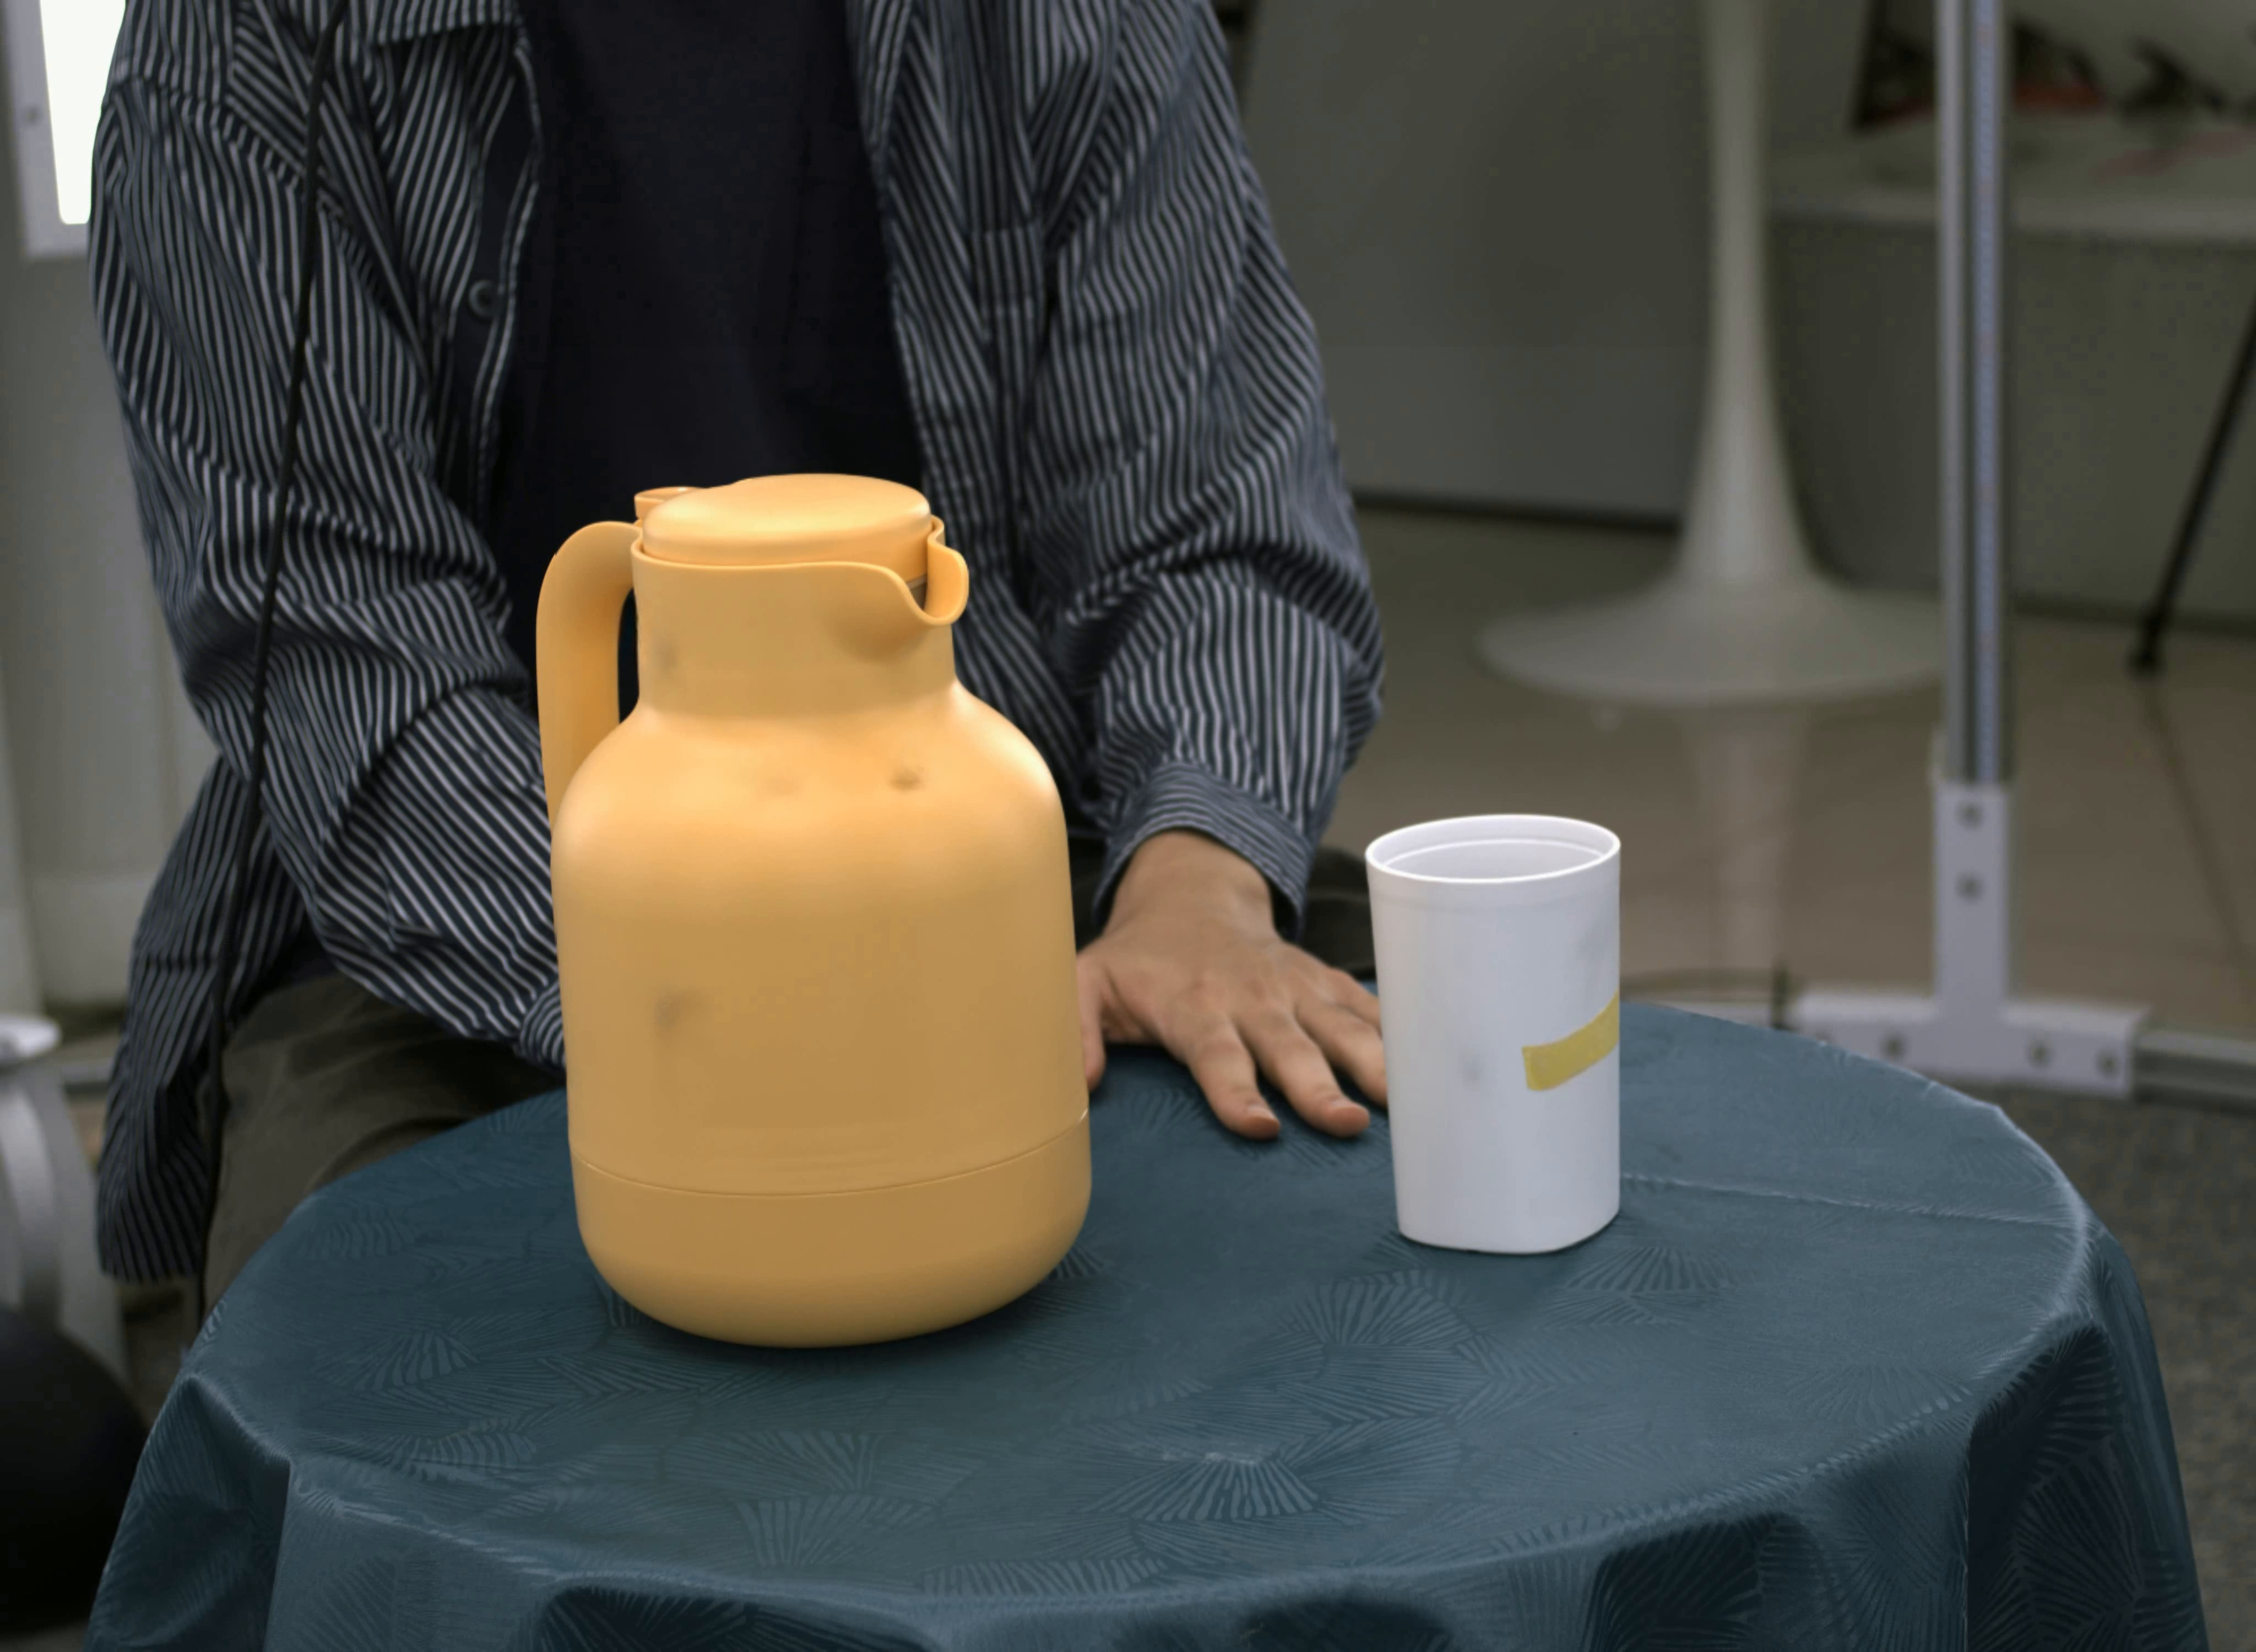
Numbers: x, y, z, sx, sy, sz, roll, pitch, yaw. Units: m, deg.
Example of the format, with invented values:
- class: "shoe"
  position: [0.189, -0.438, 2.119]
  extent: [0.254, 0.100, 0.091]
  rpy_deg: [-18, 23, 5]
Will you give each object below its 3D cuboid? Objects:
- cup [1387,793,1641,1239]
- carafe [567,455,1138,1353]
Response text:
- class: "cup"
  position: [0.125, 0.061, 1.706]
  extent: [0.080, 0.127, 0.082]
  rpy_deg: [-4, 13, 0]
- class: "carafe"
  position: [-0.095, 0.017, 1.672]
  extent: [0.160, 0.263, 0.204]
  rpy_deg: [-14, 16, -42]
